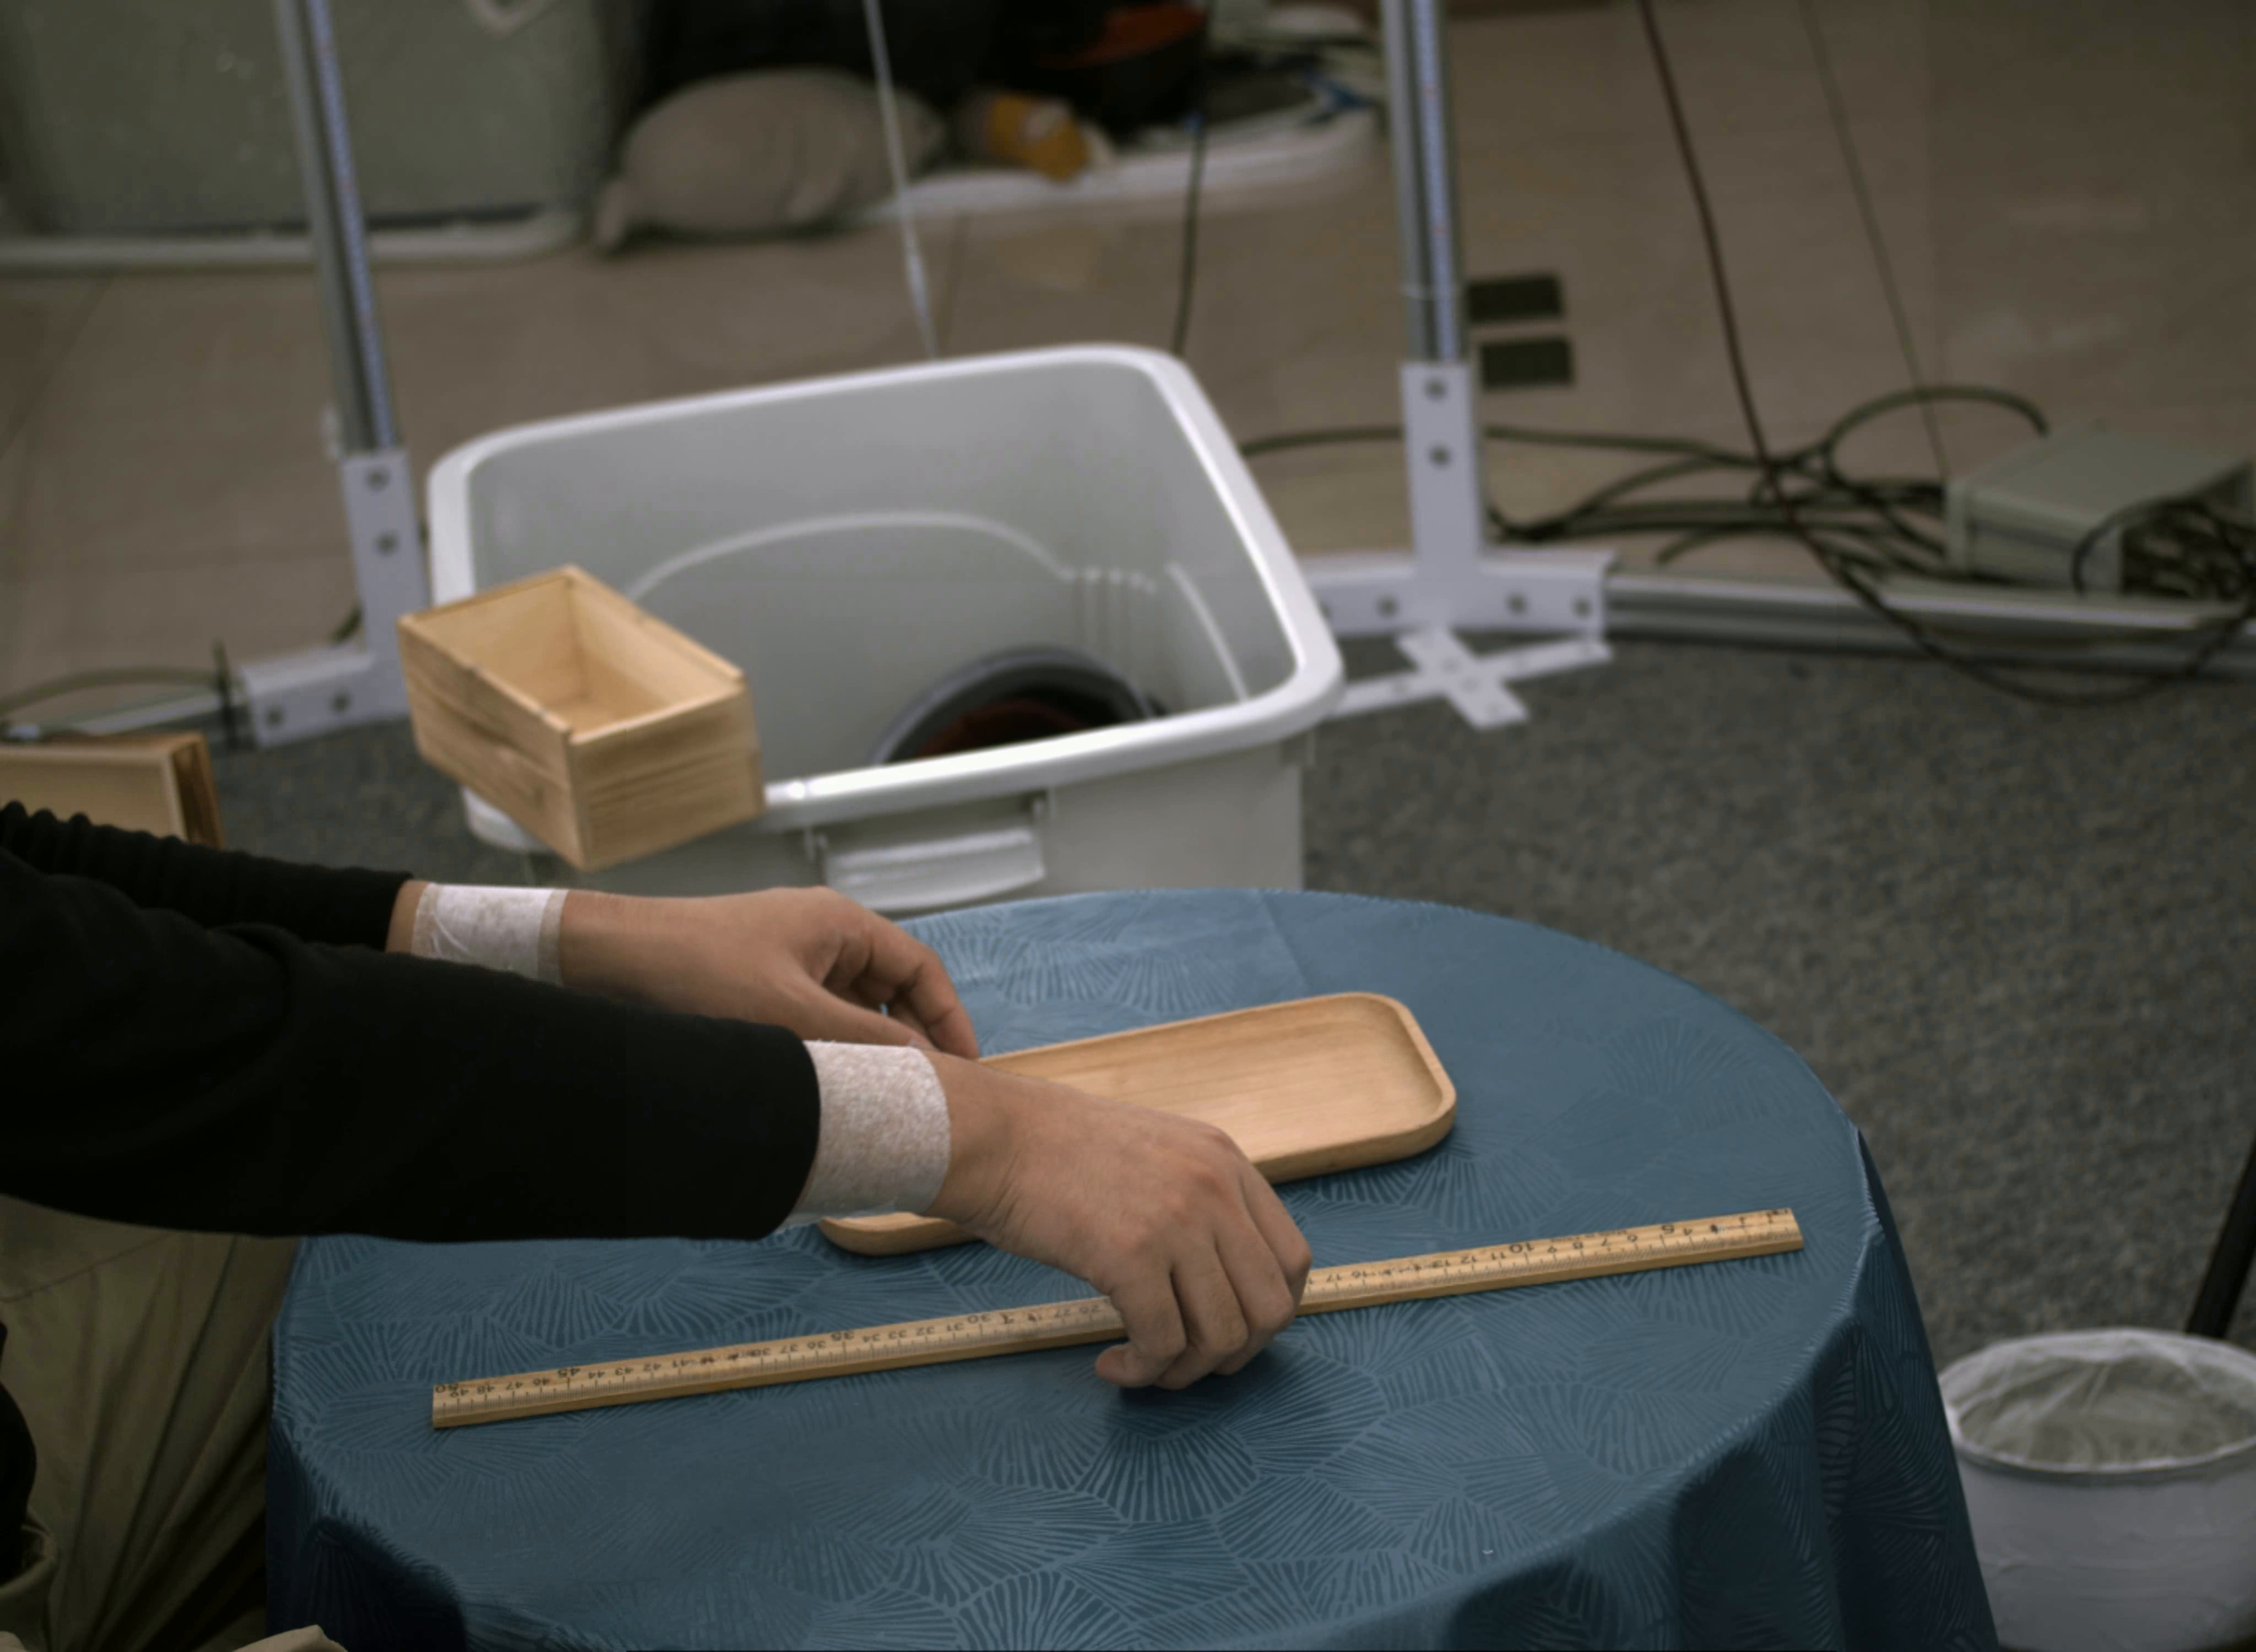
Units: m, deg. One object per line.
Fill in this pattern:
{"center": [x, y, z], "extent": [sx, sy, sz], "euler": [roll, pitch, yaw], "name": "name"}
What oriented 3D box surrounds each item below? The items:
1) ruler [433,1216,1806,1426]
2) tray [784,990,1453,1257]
{"center": [-0.004, 0.178, 2.059], "extent": [0.499, 0.006, 0.026], "euler": [-7, 22, -1], "name": "ruler"}
{"center": [-0.004, 0.114, 2.183], "extent": [0.250, 0.023, 0.129], "euler": [-11, 23, -6], "name": "tray"}
